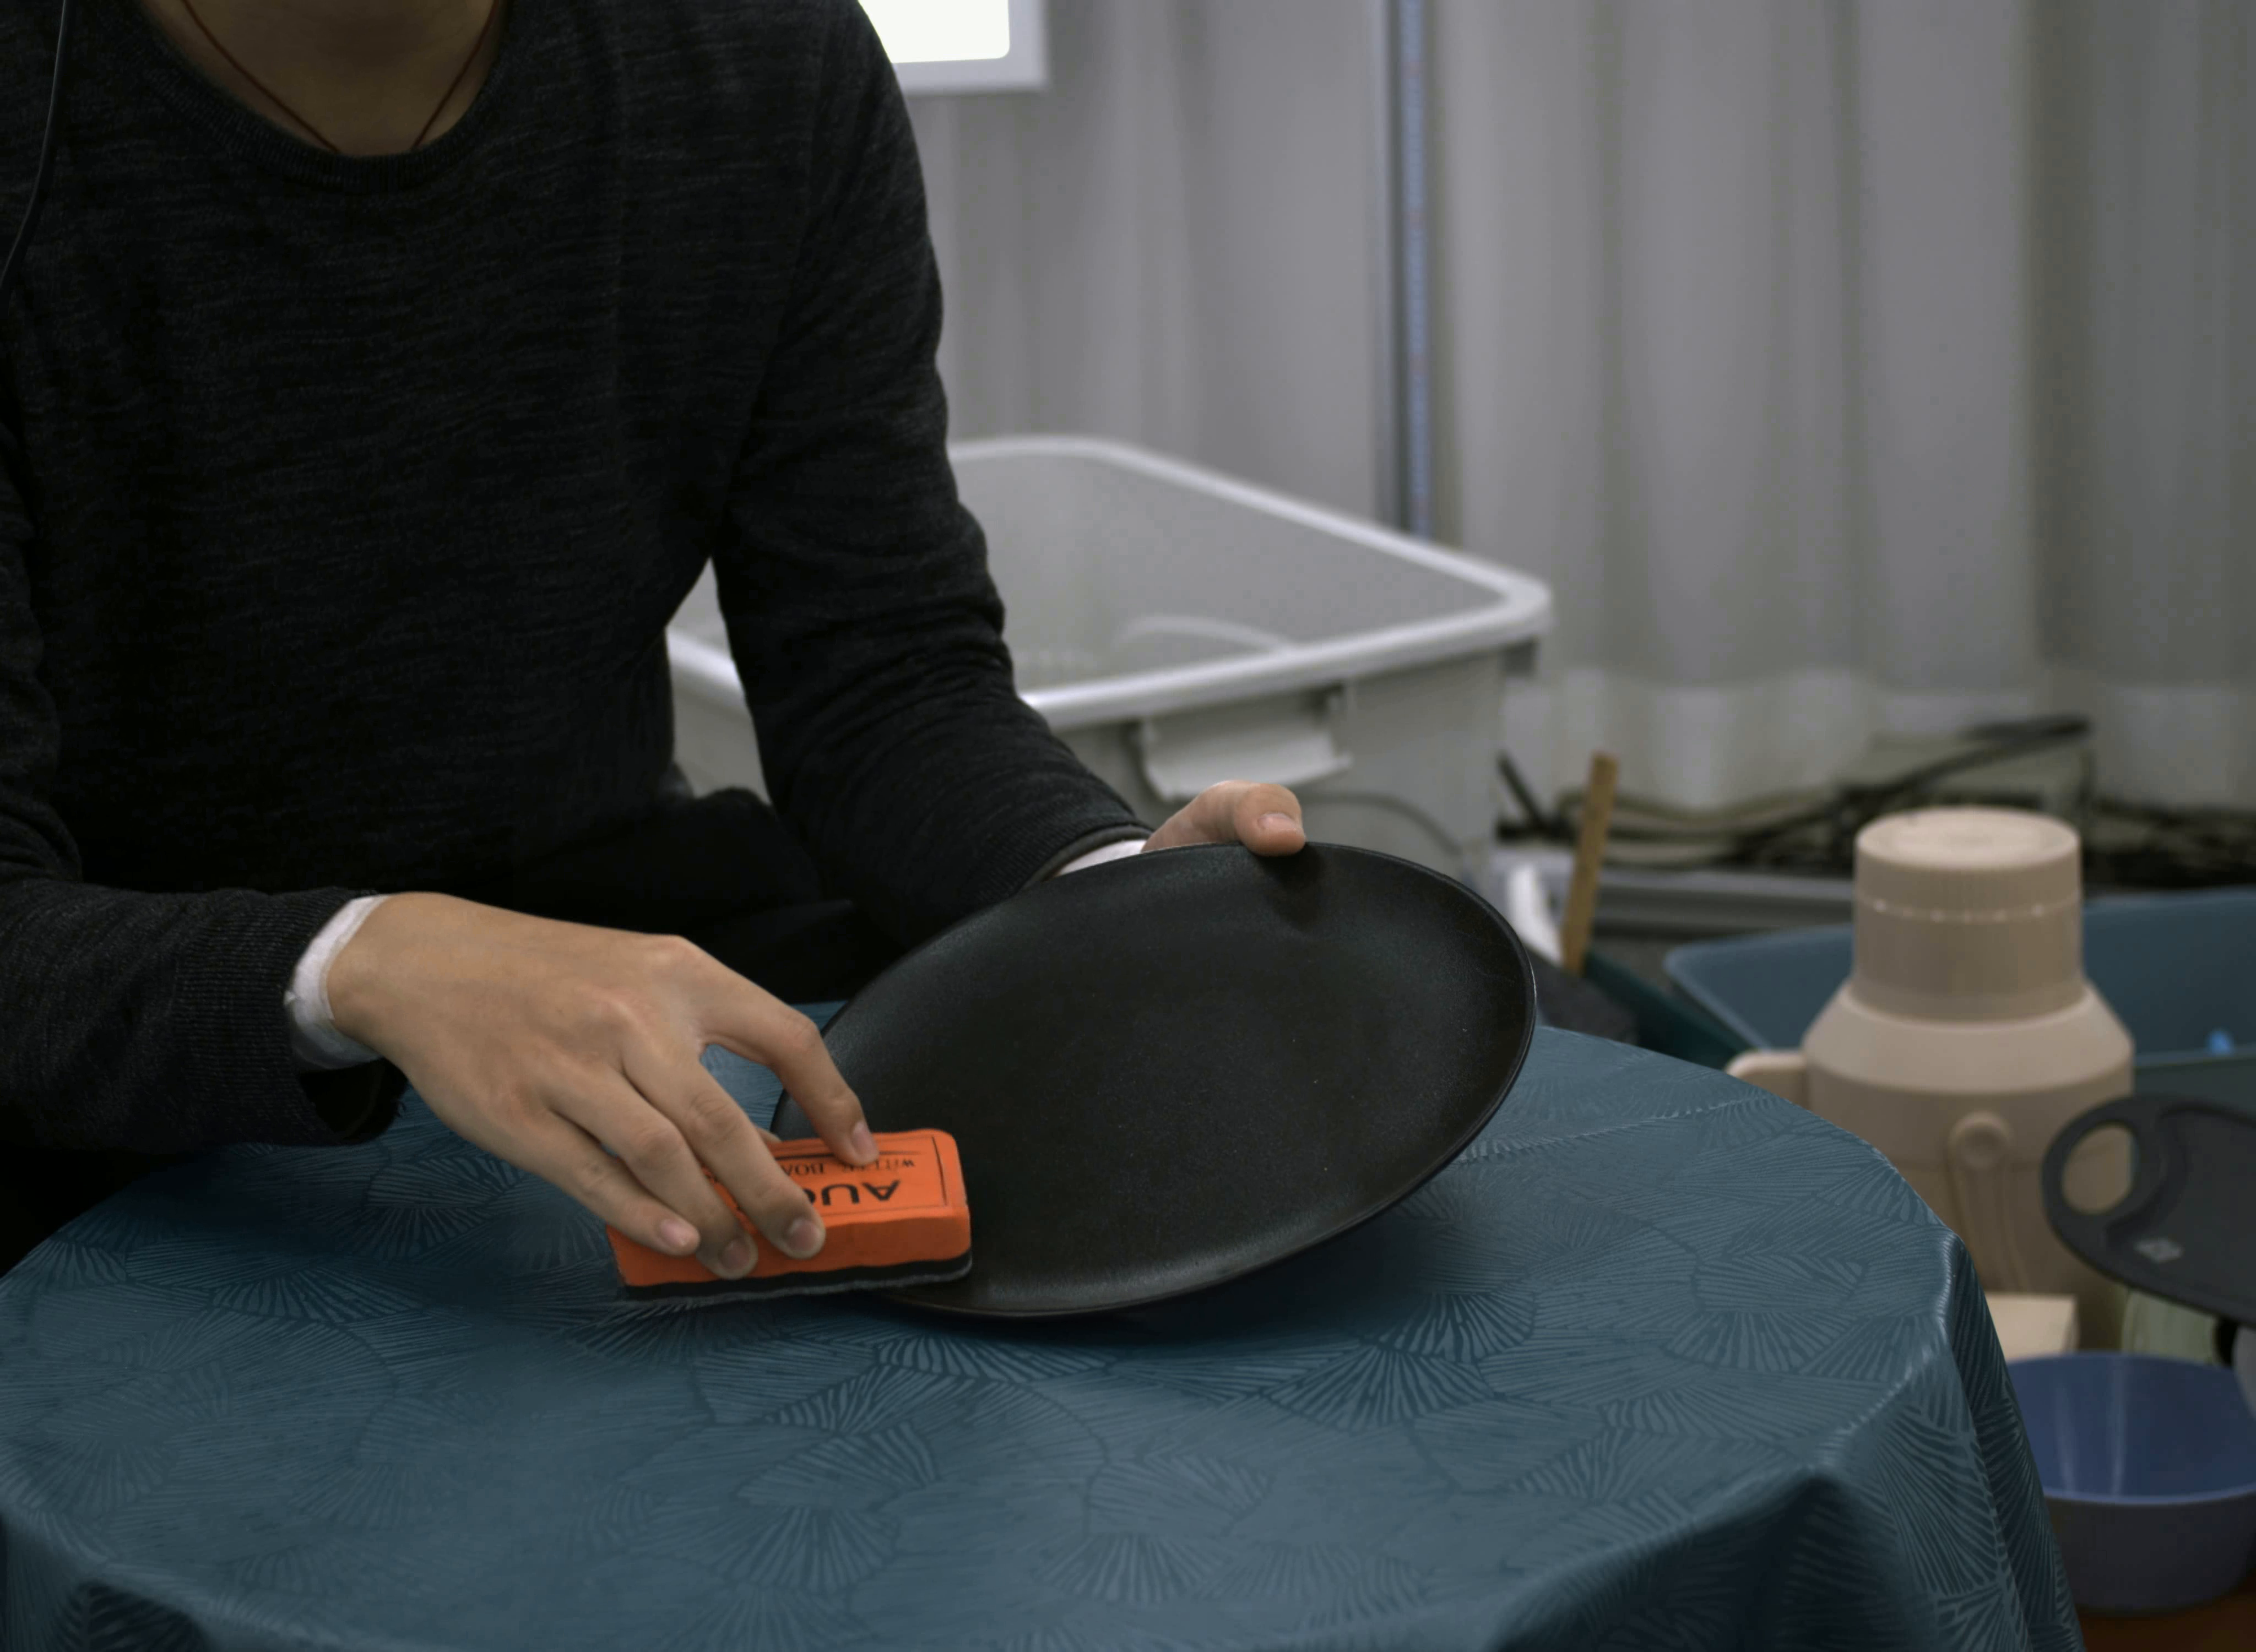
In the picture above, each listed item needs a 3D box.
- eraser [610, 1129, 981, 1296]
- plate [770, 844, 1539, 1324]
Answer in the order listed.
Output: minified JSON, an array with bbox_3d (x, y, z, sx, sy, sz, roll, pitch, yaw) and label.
[{"bbox_3d":[-0.099,0.115,1.628,0.107,0.023,0.059,-6,16,-5],"label":"eraser"},{"bbox_3d":[0.009,0.081,1.679,0.244,0.023,0.247,-12,30,7],"label":"plate"}]
